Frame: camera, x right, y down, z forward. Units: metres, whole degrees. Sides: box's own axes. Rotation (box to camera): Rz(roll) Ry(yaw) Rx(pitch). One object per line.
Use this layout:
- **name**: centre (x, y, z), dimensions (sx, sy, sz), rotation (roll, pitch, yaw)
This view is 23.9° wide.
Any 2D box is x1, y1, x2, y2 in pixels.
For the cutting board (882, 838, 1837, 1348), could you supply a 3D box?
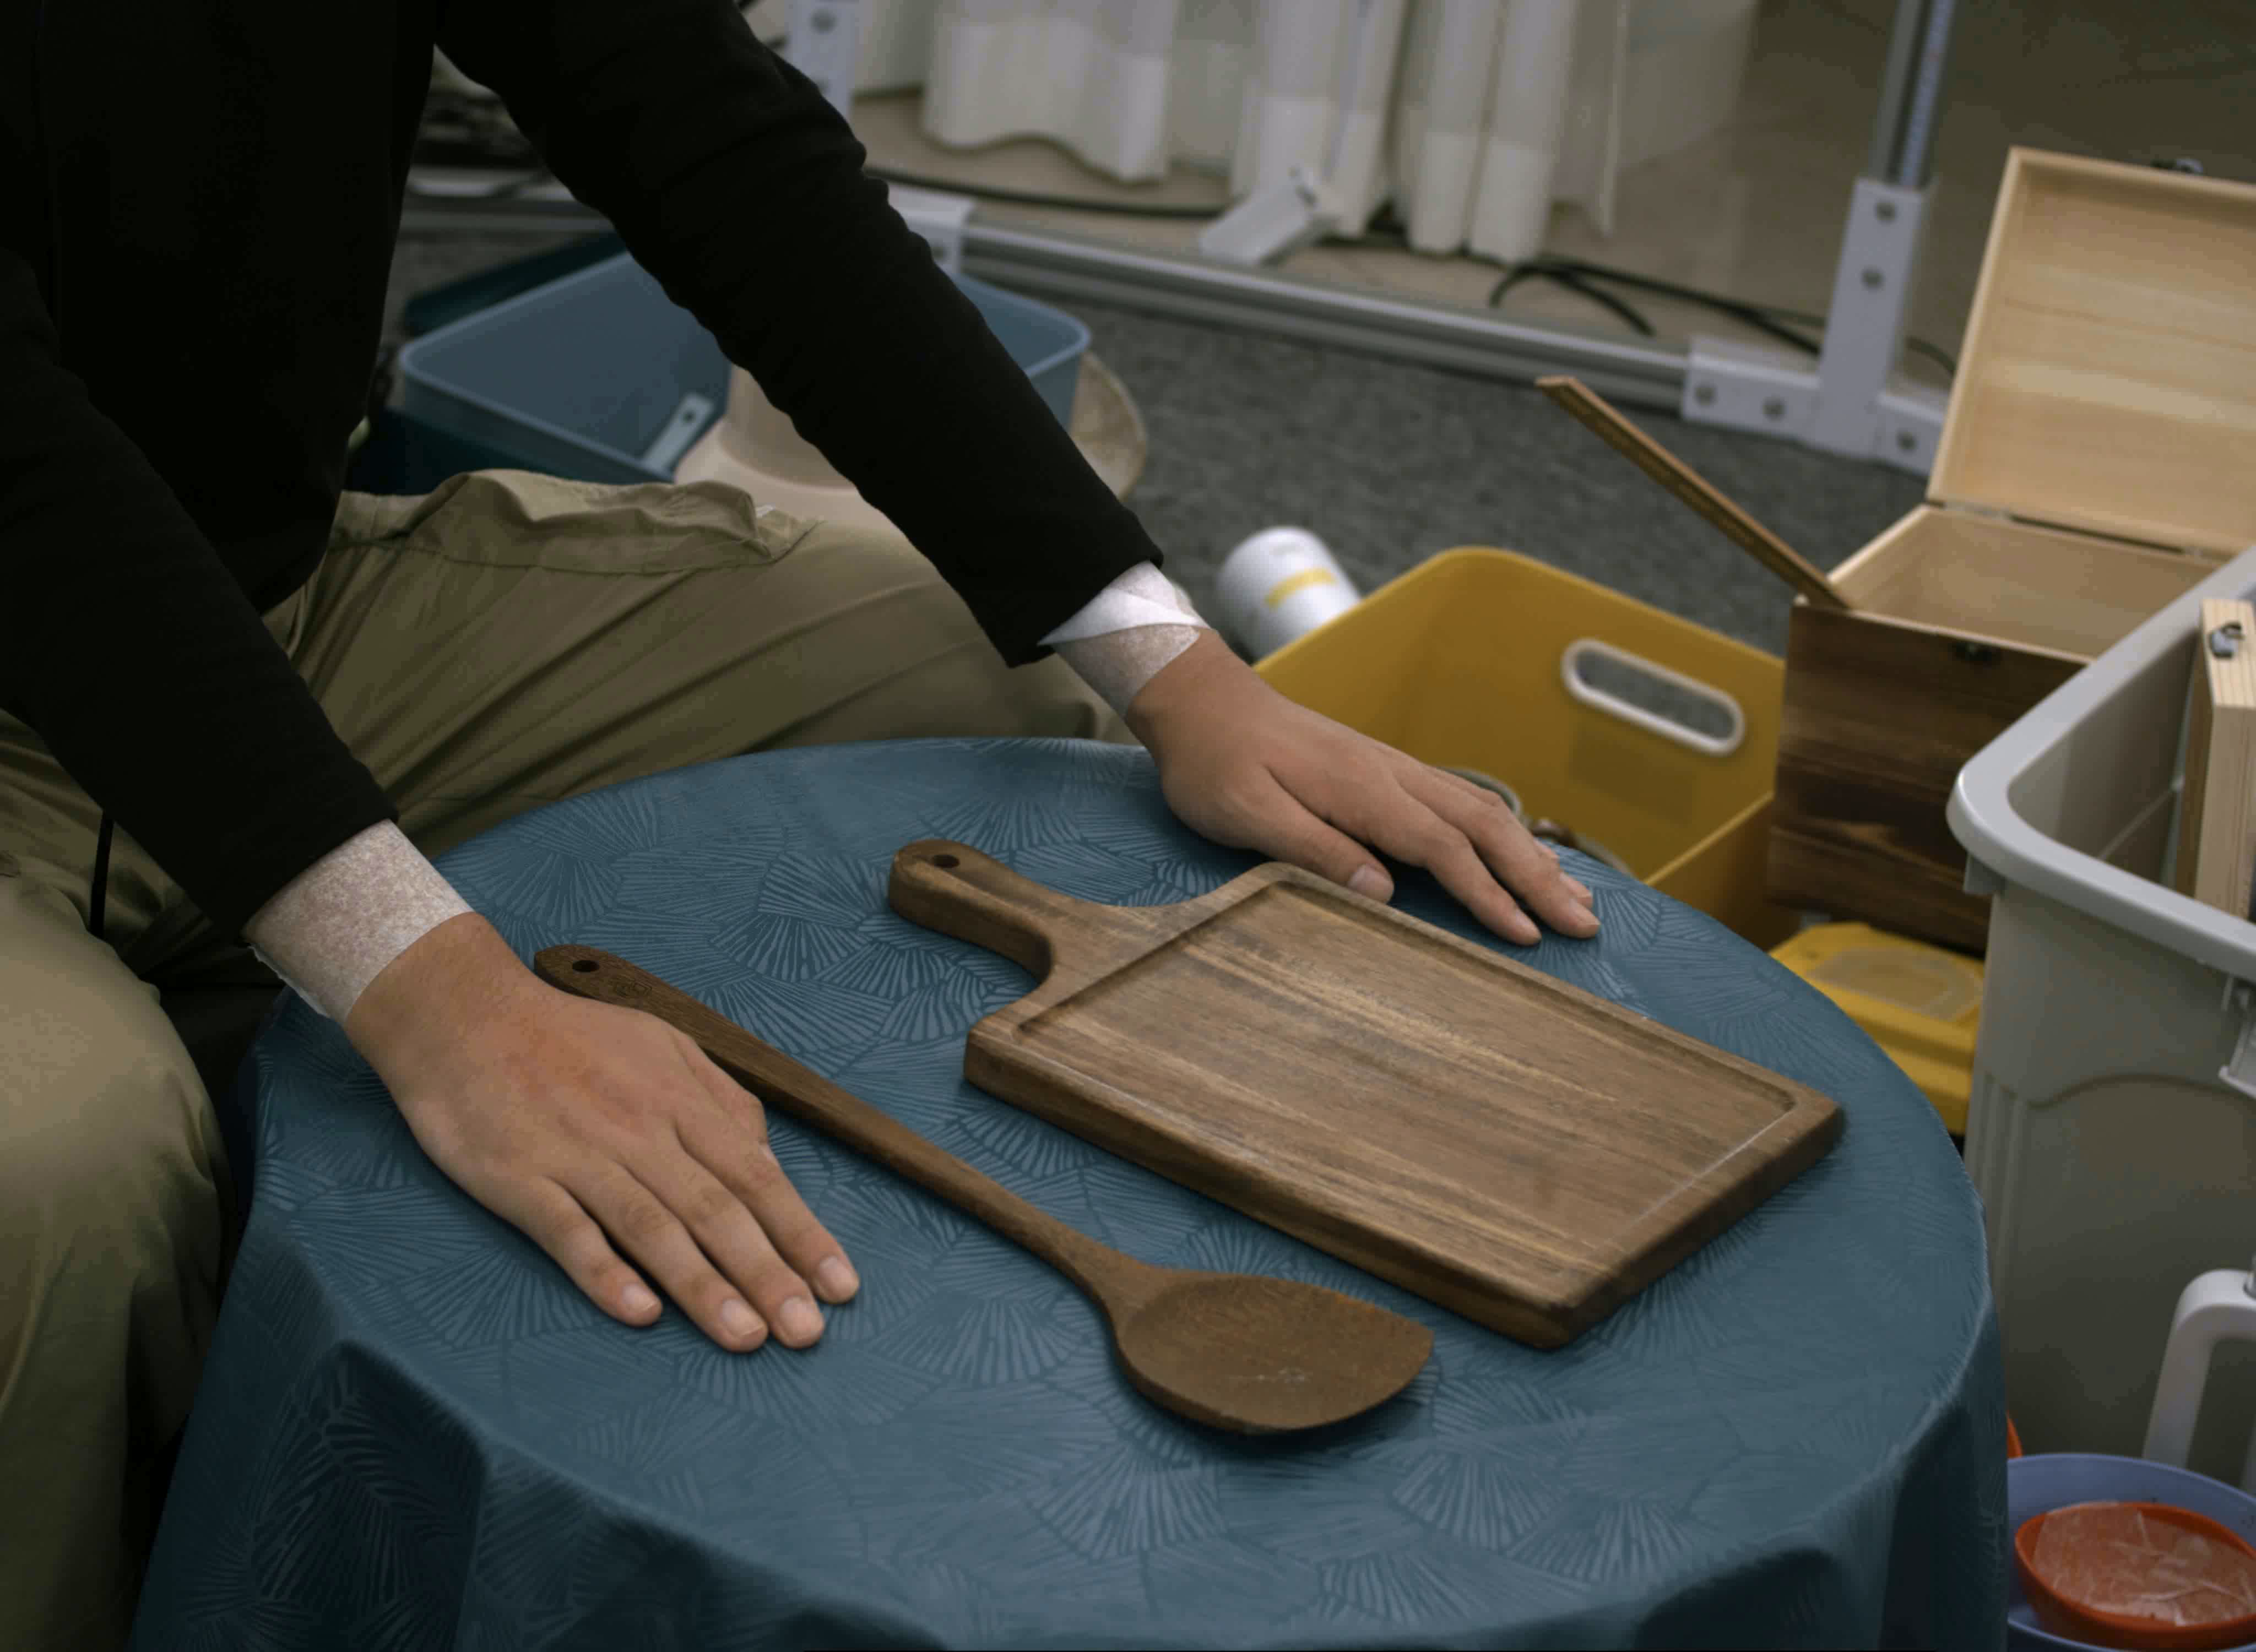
- **cutting board**: centre (0.056, 0.075, 1.888), dimensions (0.354, 0.023, 0.200), rotation (23, 31, 29)

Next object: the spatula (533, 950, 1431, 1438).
- **spatula**: centre (-0.066, 0.115, 1.788), dimensions (0.389, 0.016, 0.095), rotation (26, 32, 34)
